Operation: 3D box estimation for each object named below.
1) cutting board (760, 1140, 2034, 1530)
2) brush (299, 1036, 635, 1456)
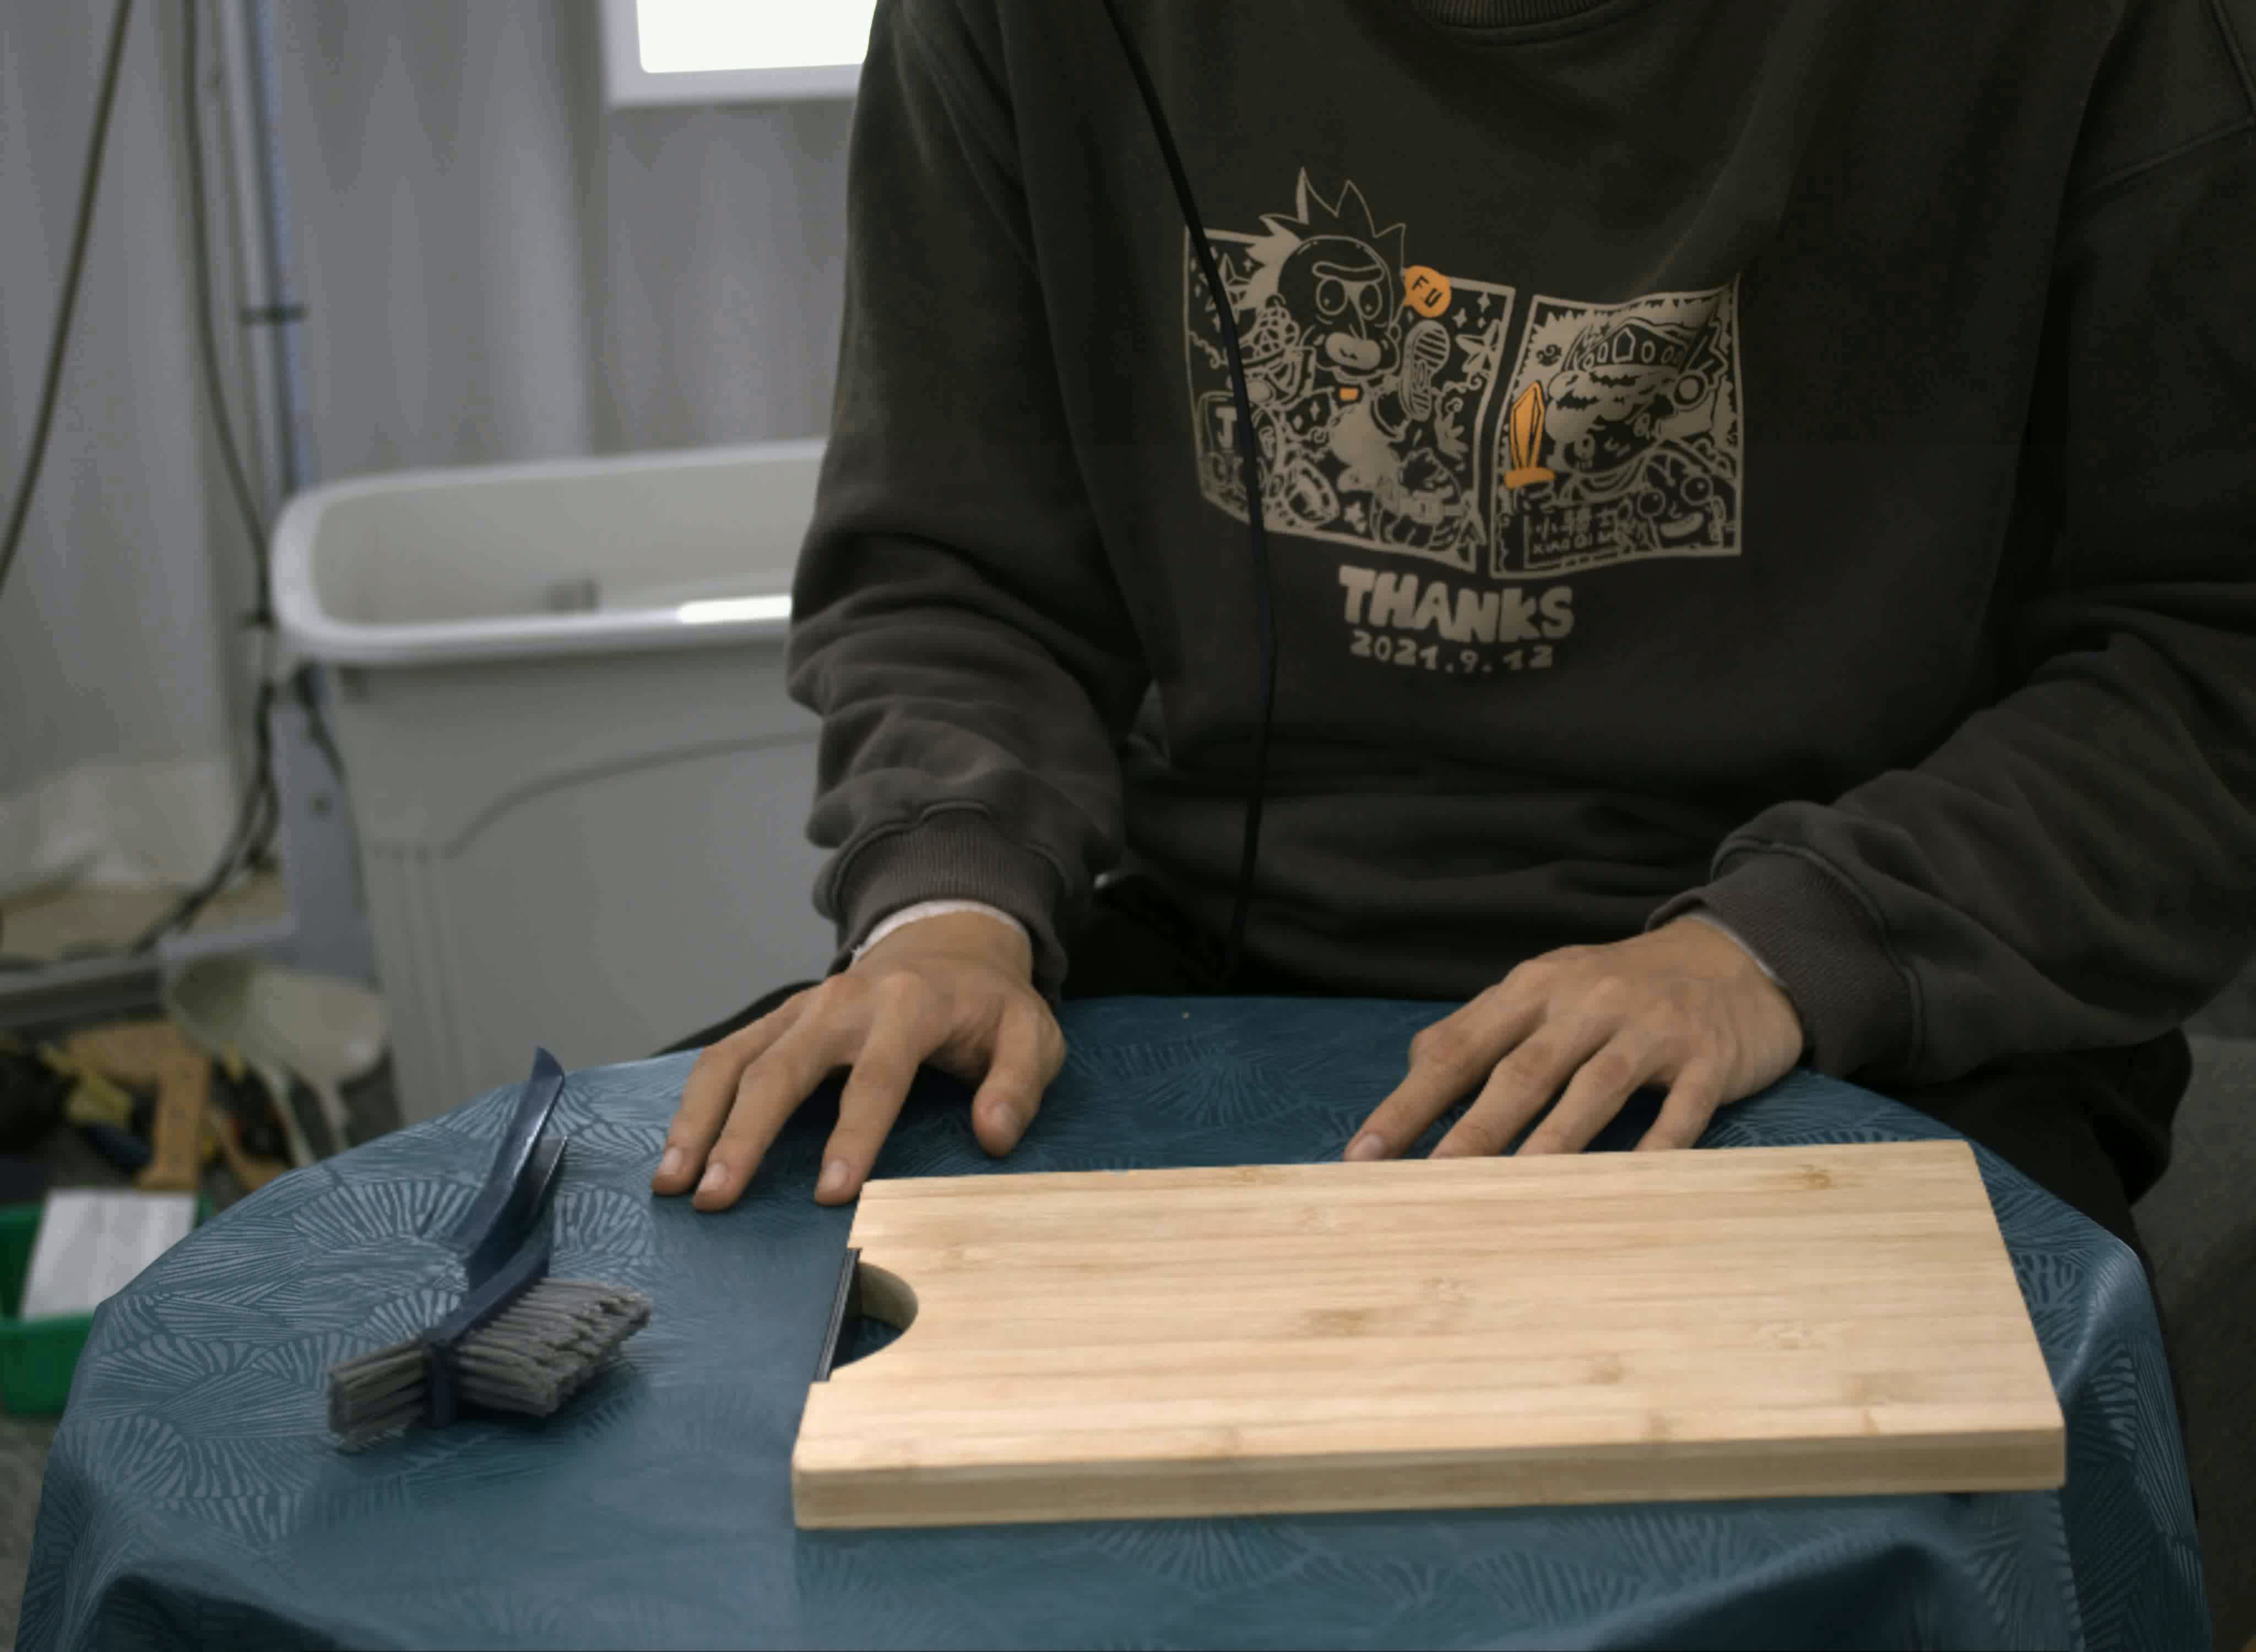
[{"bbox_3d":[0.077,0.144,1.568,0.347,0.023,0.252,-2,14,2],"label":"cutting board"},{"bbox_3d":[-0.199,0.124,1.667,0.095,0.033,0.275,-4,16,-4],"label":"brush"}]
